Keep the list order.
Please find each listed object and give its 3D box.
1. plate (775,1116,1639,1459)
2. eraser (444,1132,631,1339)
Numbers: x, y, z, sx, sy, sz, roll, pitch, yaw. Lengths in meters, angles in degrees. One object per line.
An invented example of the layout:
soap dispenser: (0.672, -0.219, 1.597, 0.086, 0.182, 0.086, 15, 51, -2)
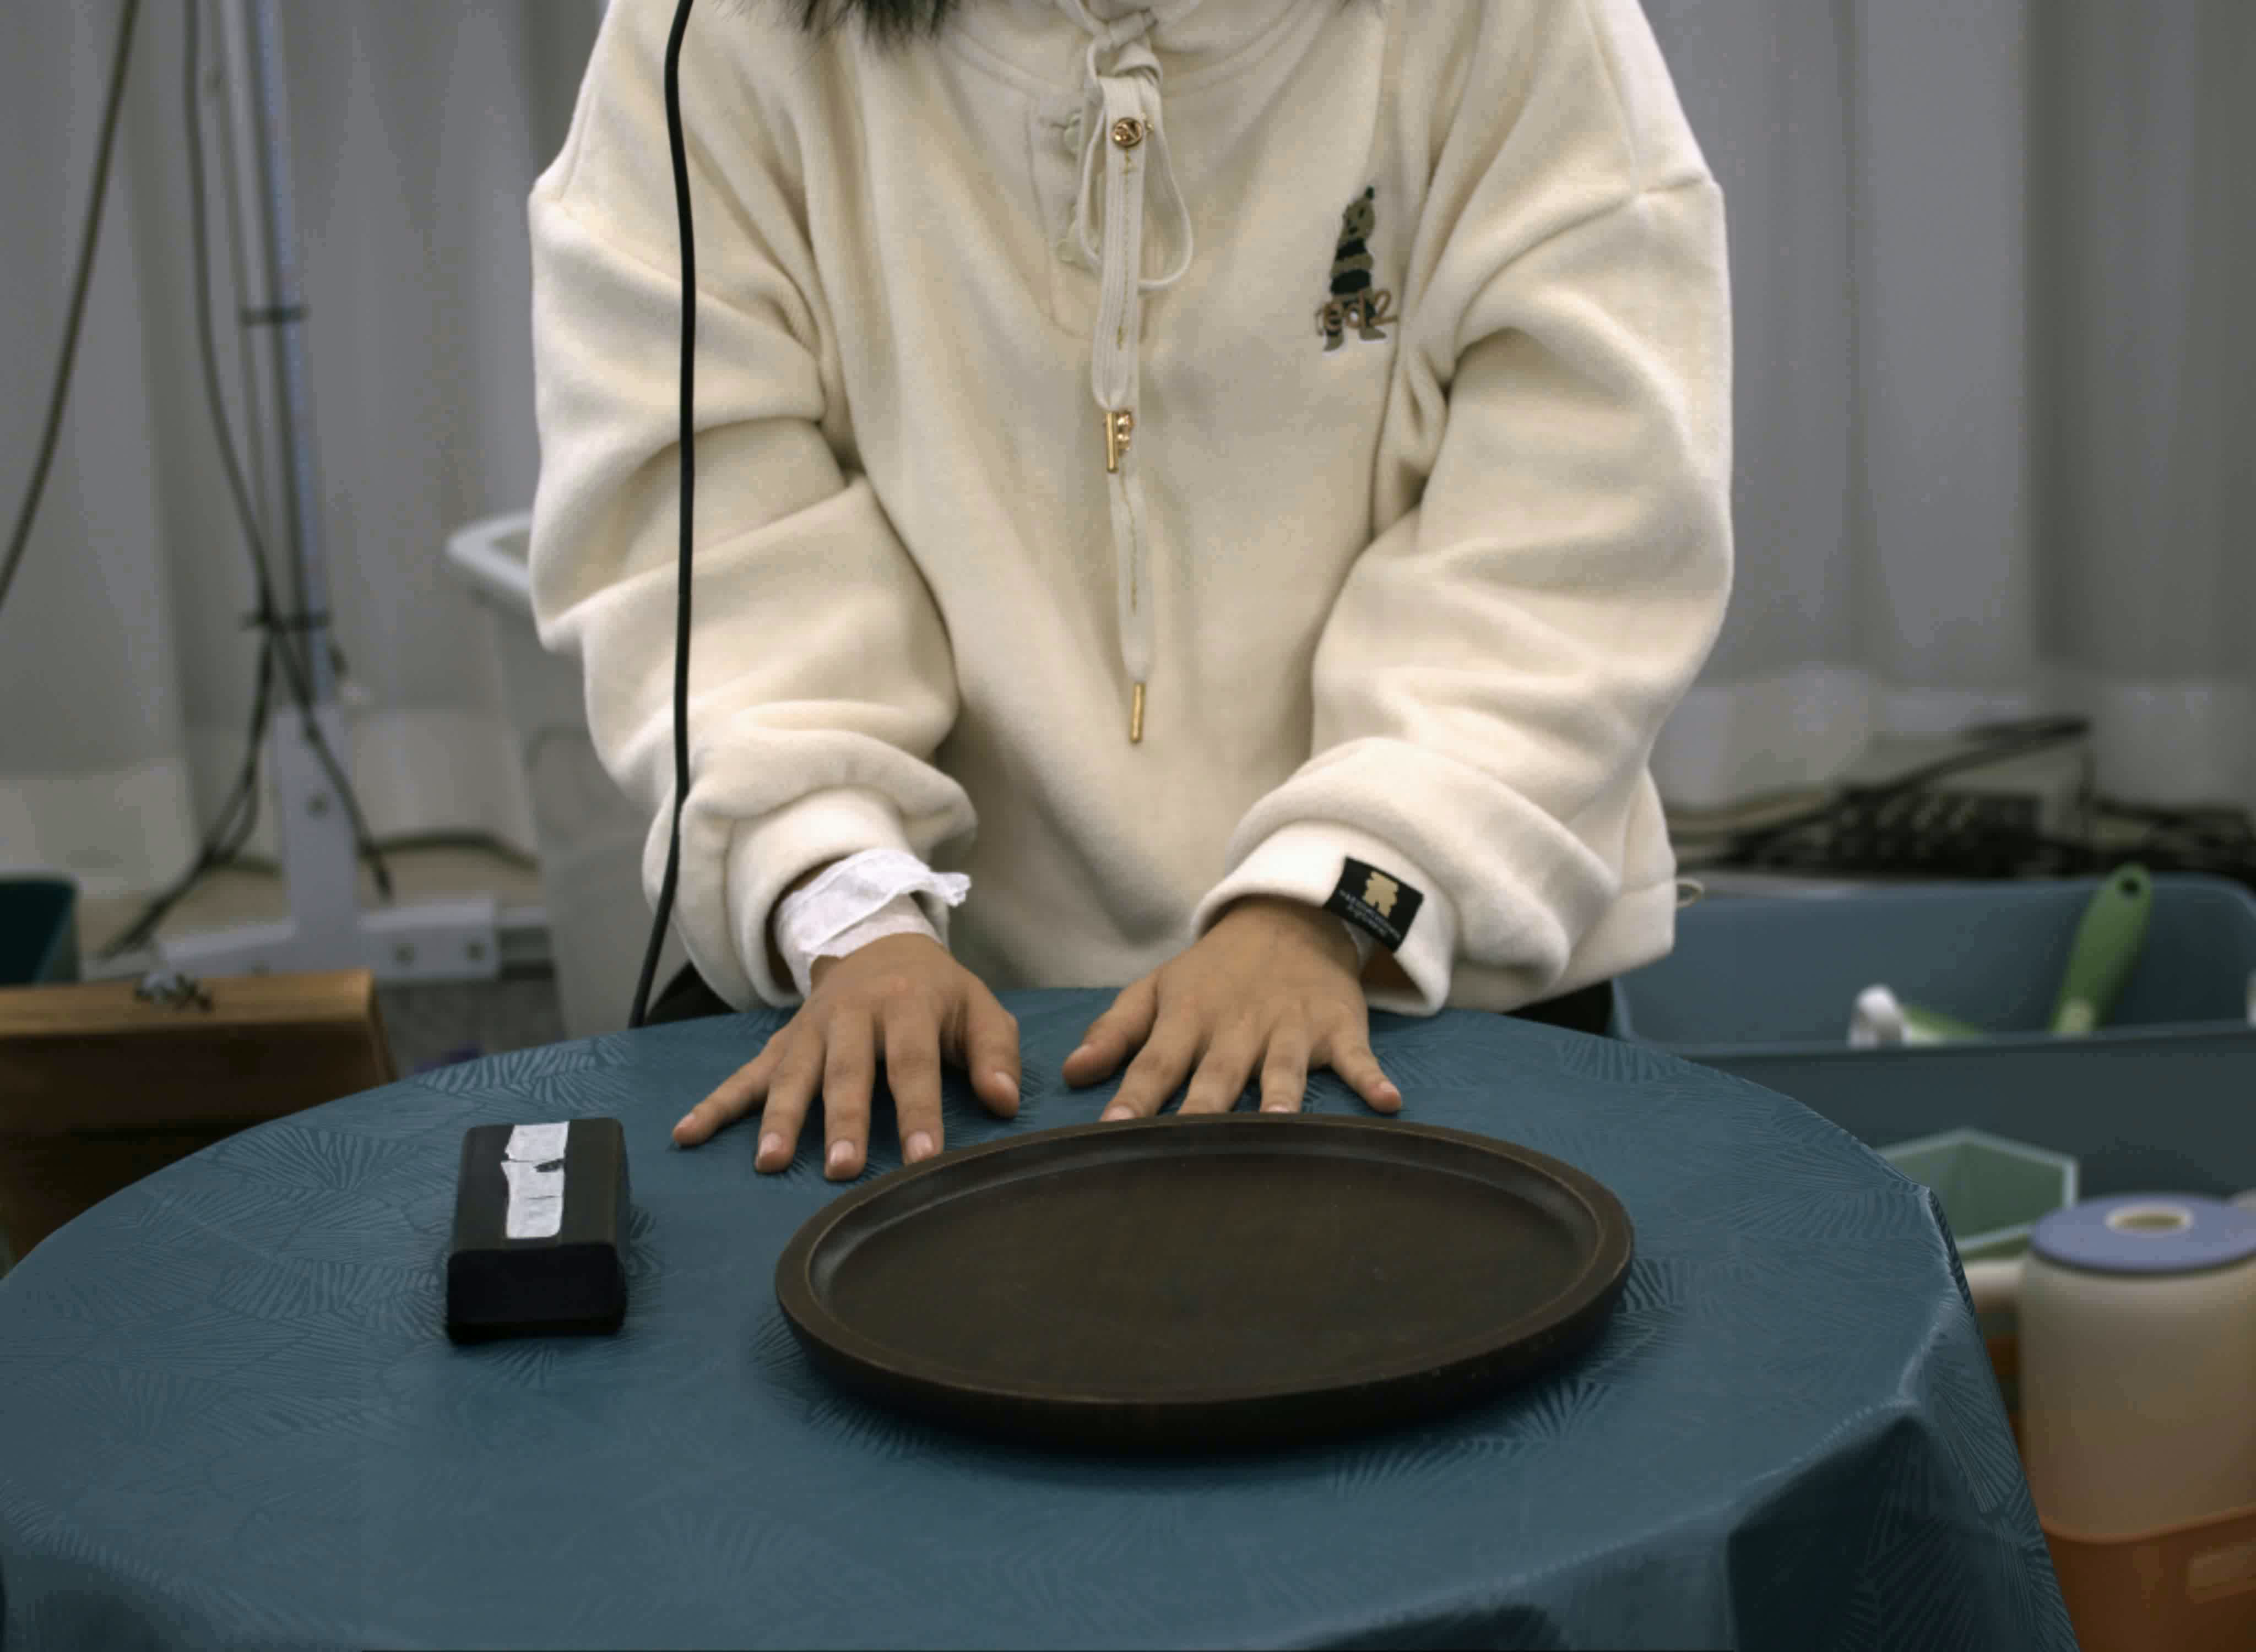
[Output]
plate: (0.023, 0.132, 1.599, 0.254, 0.029, 0.256, -3, 16, 1)
eraser: (-0.178, 0.124, 1.664, 0.053, 0.030, 0.126, -2, 13, -4)
